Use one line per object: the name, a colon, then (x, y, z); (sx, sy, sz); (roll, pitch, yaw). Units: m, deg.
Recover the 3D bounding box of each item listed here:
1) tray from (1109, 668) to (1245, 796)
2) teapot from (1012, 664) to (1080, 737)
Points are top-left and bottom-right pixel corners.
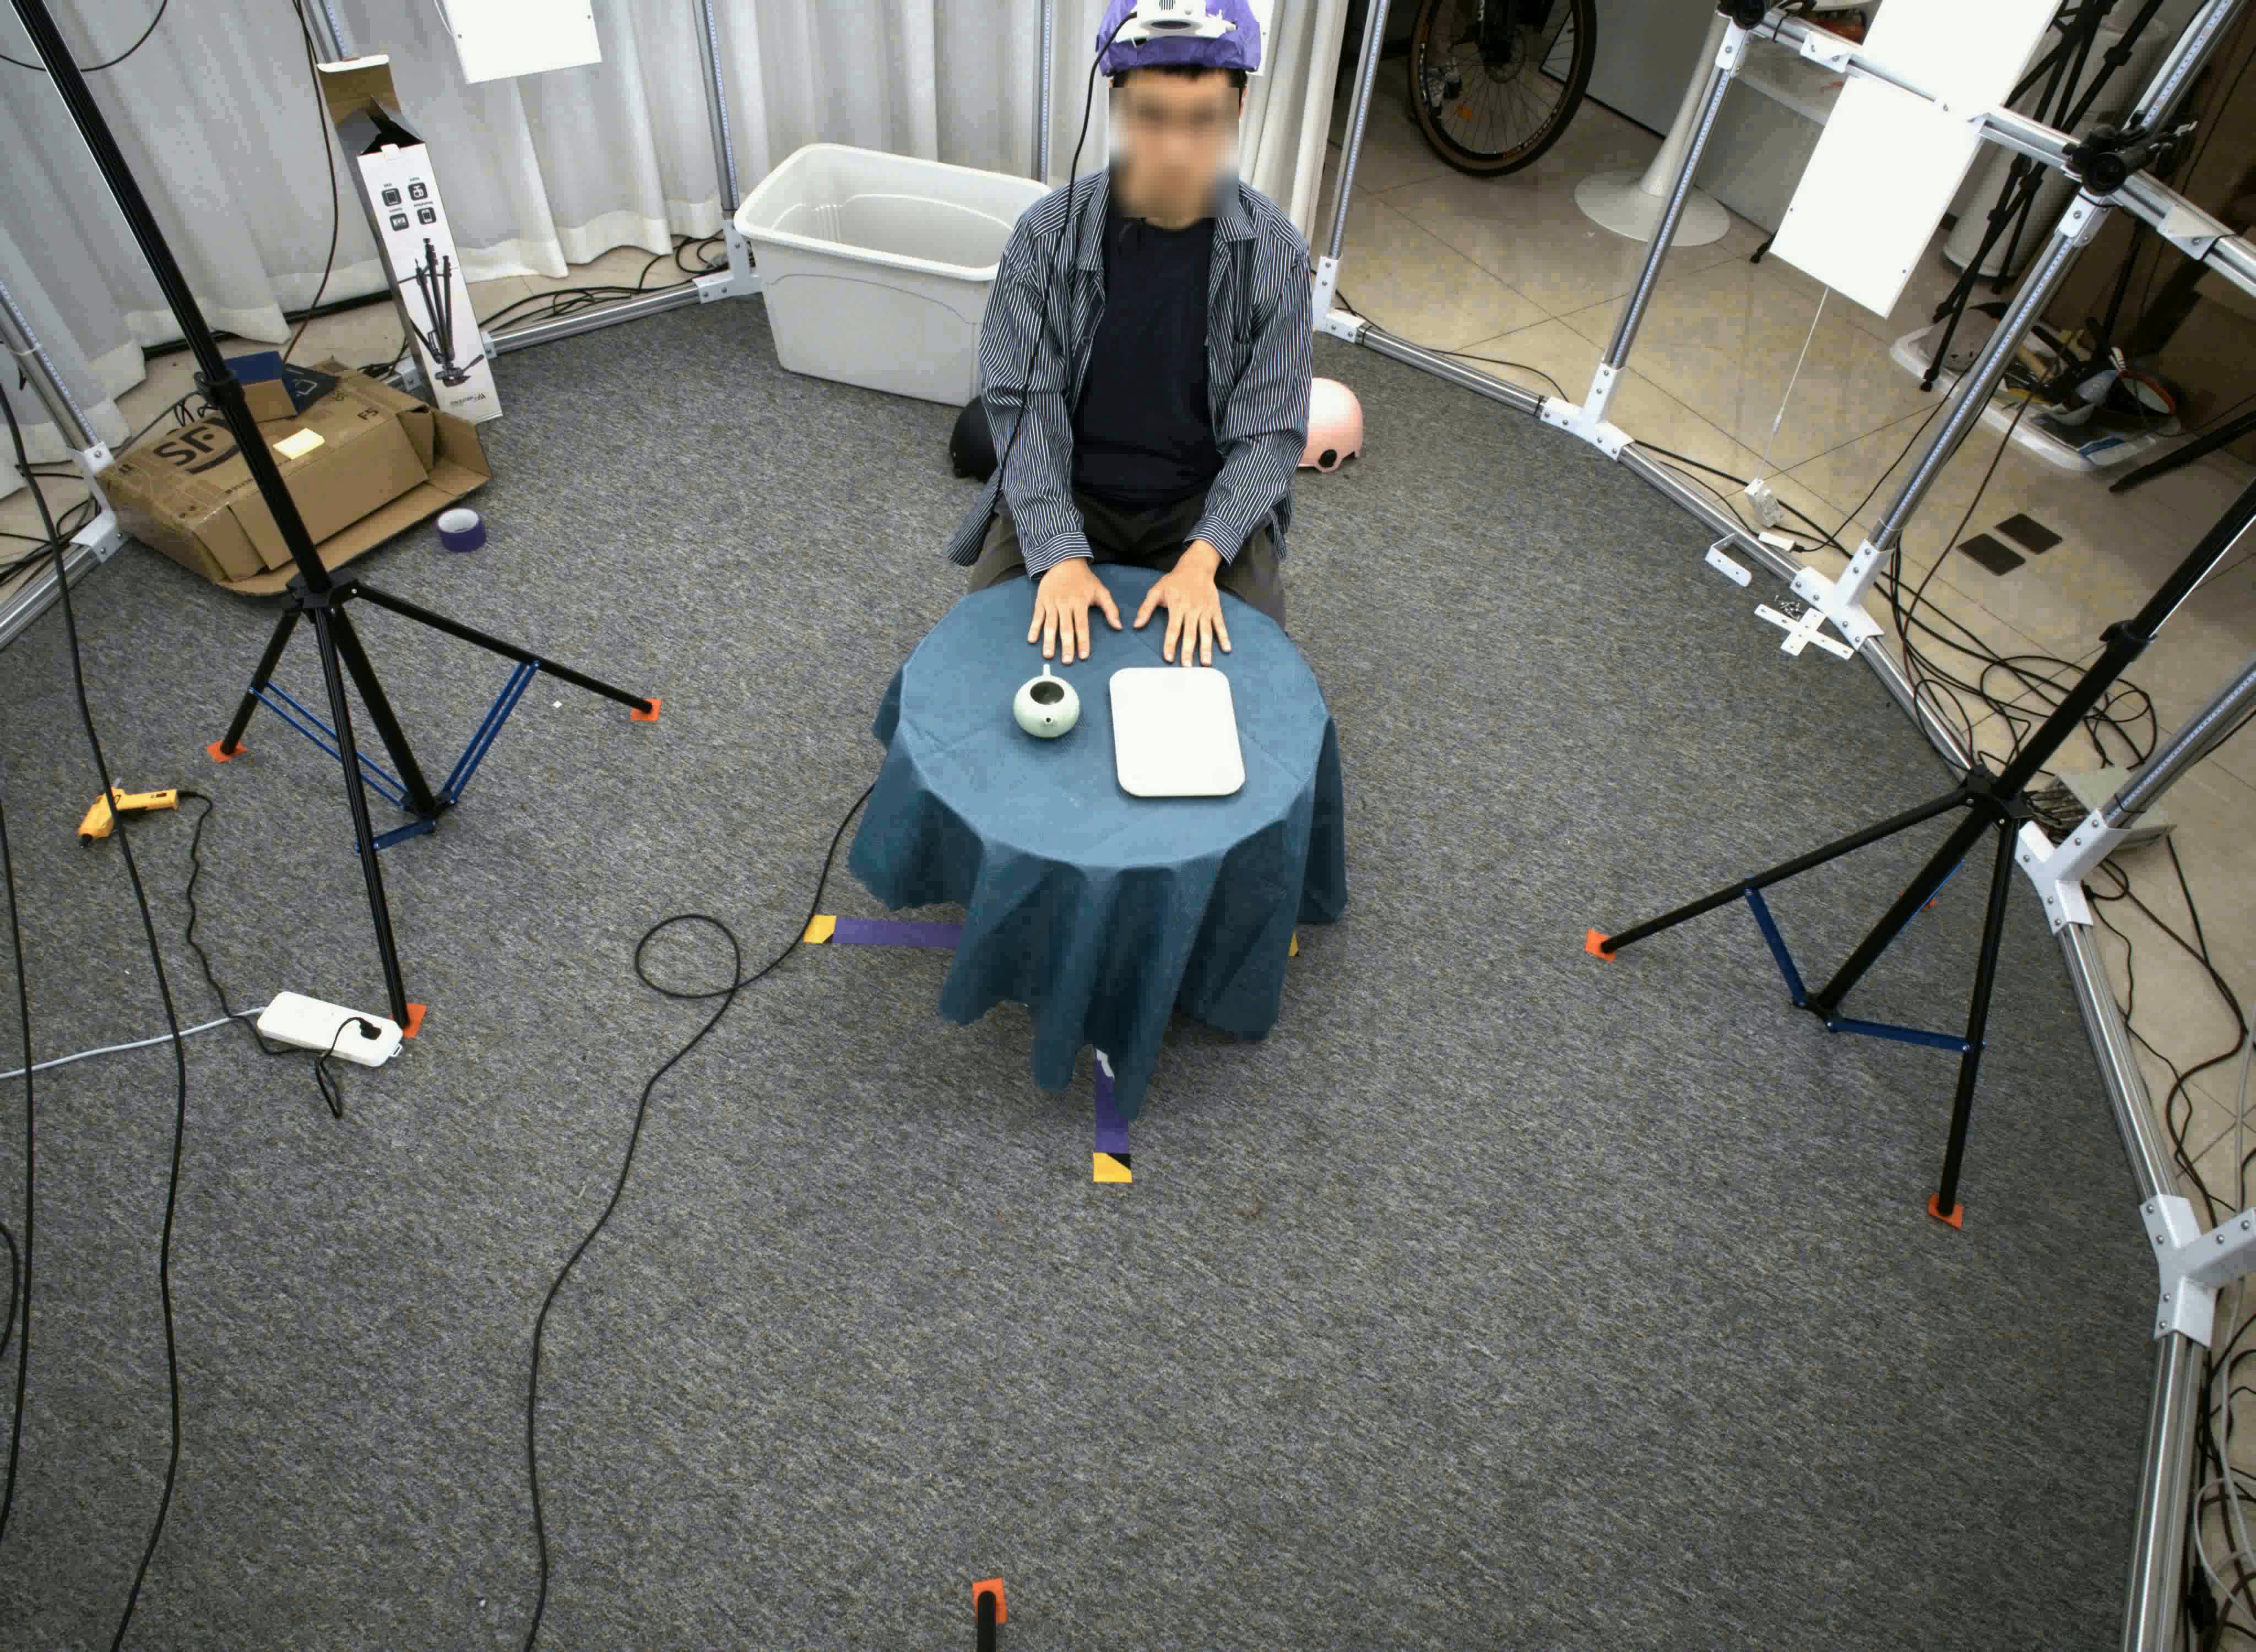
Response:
tray: (0.064, -0.131, 1.766); (0.171, 0.017, 0.246); (0, 48, -6)
teapot: (-0.112, -0.171, 1.760); (0.091, 0.059, 0.132); (2, 48, -1)
